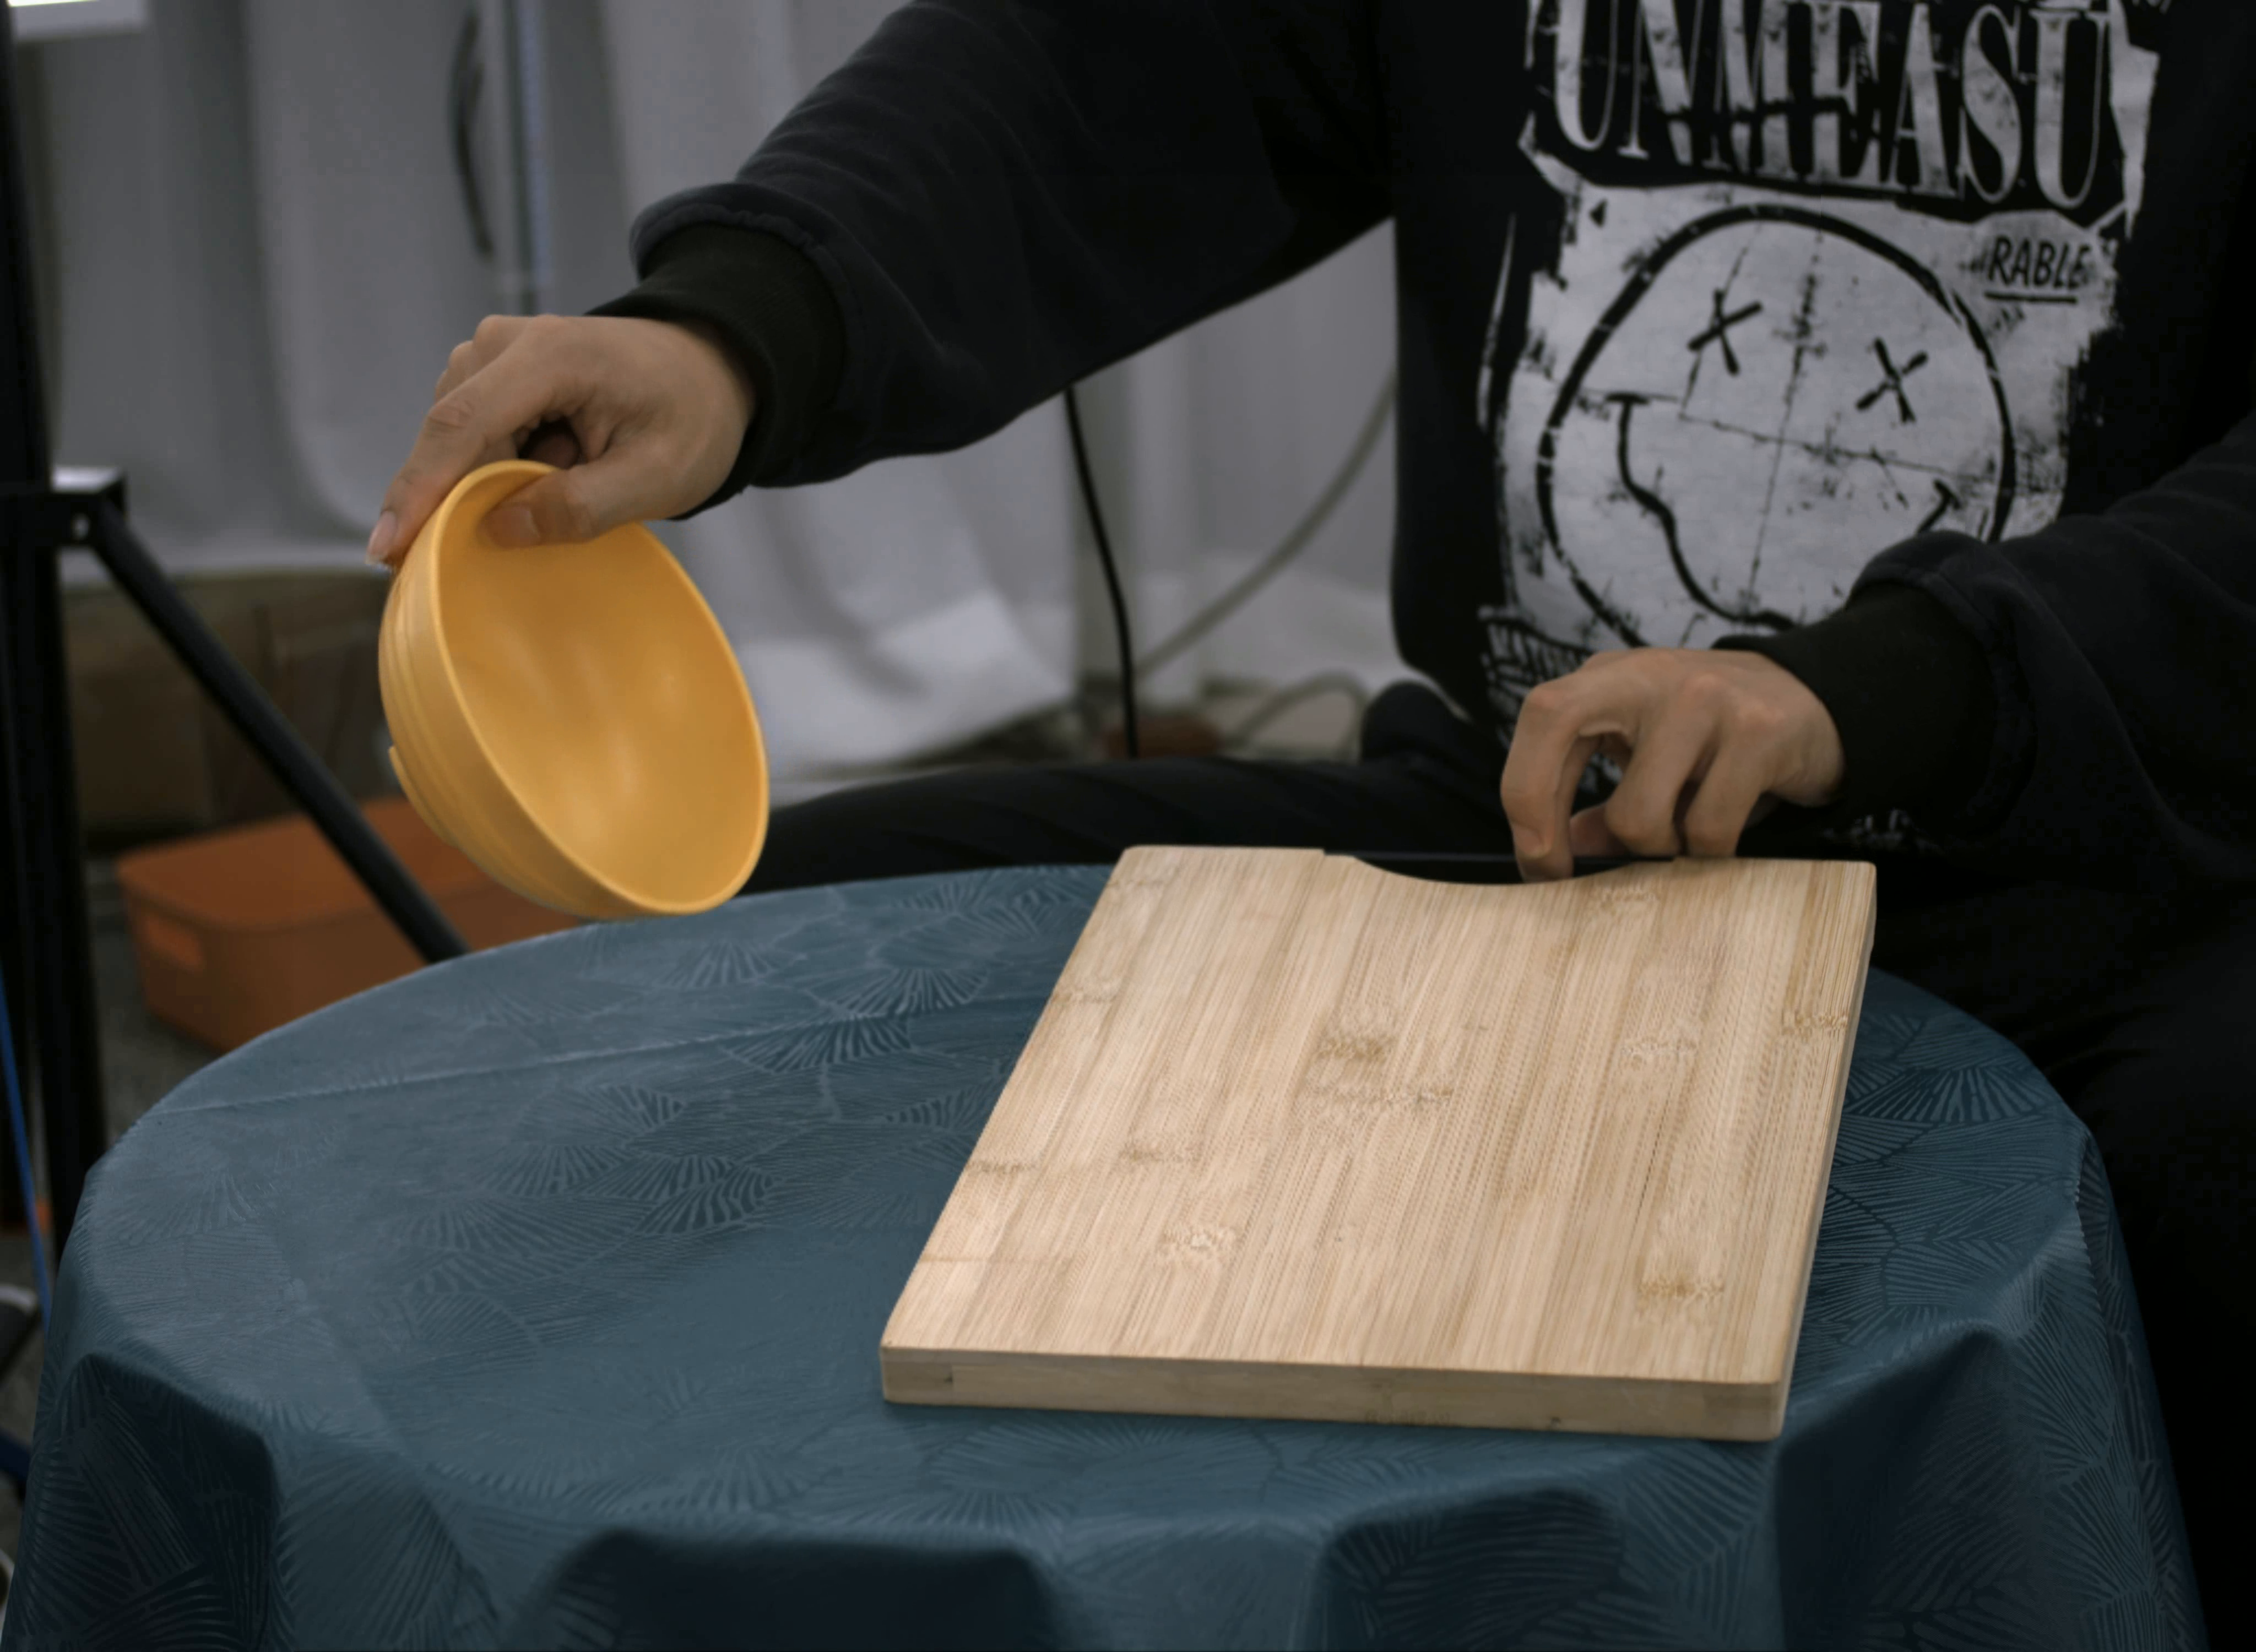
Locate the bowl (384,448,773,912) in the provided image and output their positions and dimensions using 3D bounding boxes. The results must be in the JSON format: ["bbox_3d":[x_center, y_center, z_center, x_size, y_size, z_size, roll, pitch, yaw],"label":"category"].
[{"bbox_3d":[-0.172,-0.033,1.564,0.061,0.145,0.143,-28,2,30],"label":"bowl"}]

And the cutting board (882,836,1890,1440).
[{"bbox_3d":[0.086,0.081,1.533,0.252,0.023,0.348,1,23,12],"label":"cutting board"}]
